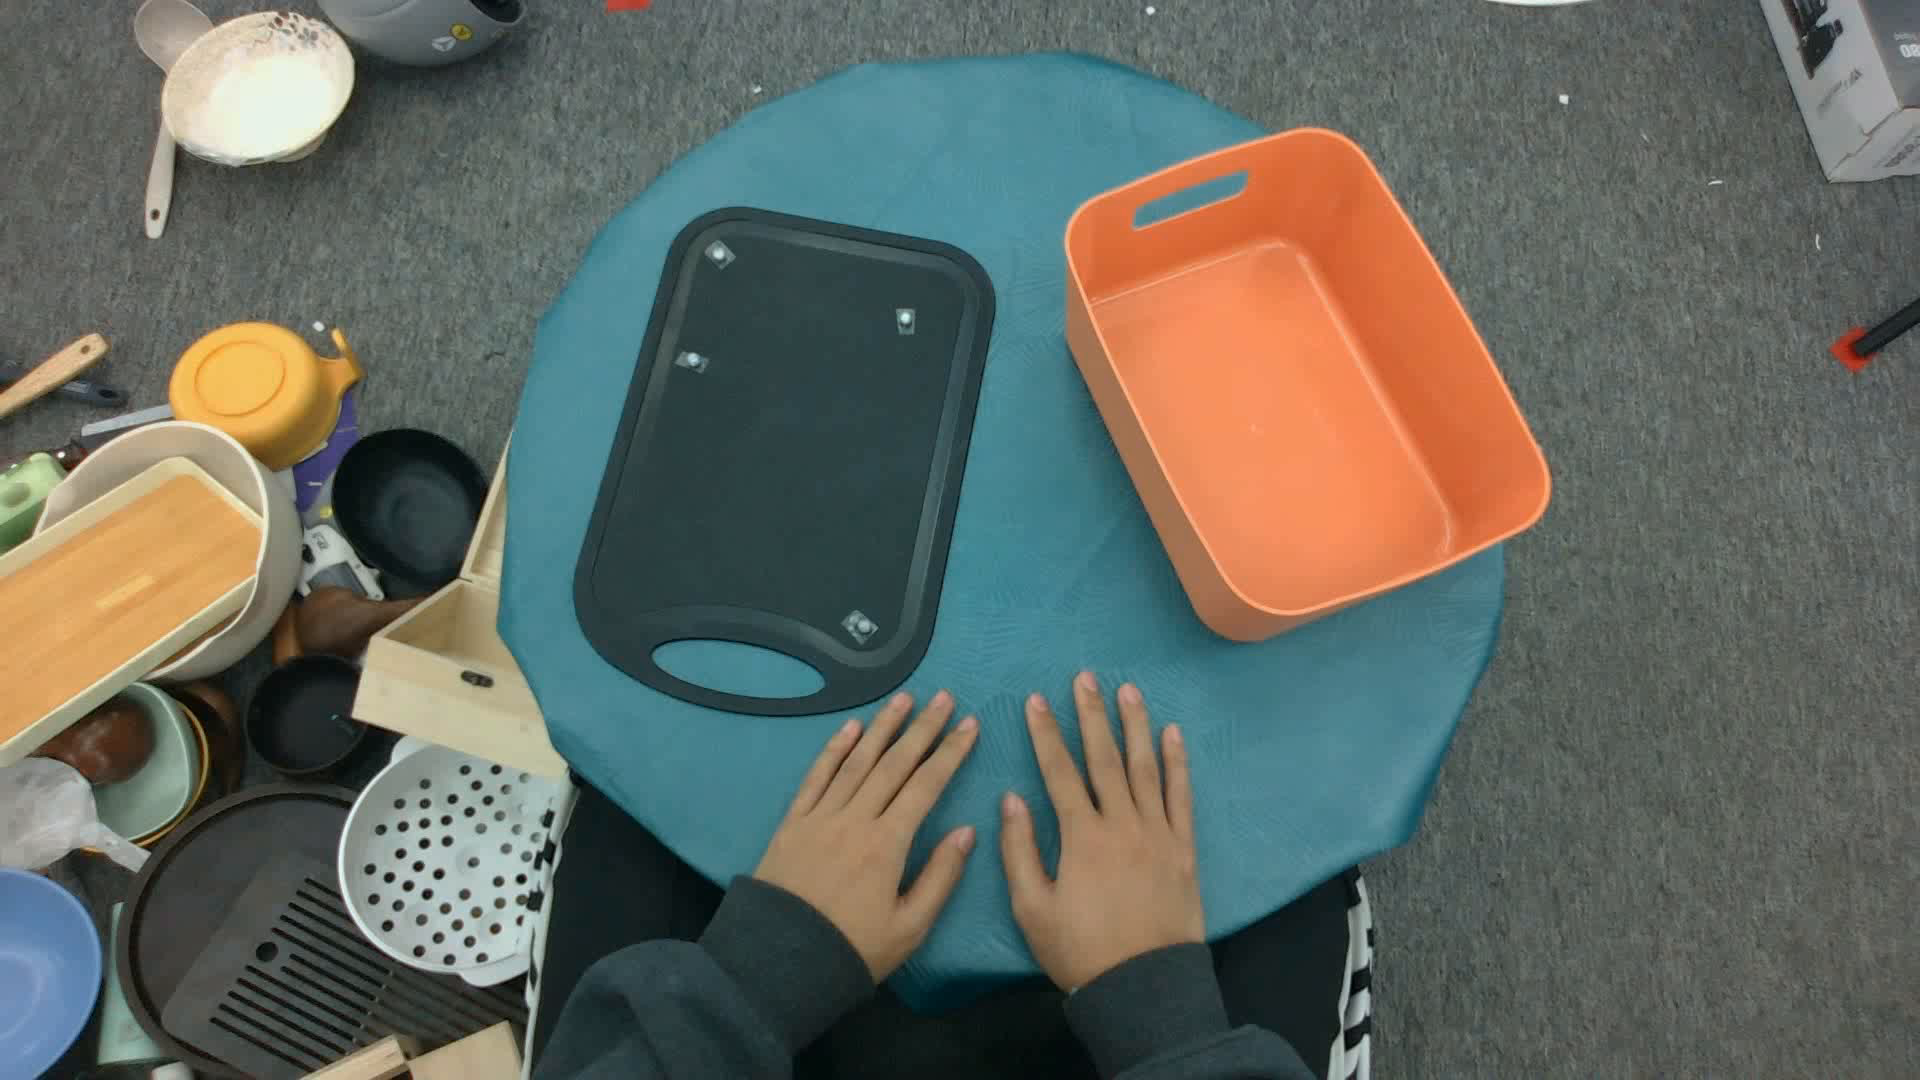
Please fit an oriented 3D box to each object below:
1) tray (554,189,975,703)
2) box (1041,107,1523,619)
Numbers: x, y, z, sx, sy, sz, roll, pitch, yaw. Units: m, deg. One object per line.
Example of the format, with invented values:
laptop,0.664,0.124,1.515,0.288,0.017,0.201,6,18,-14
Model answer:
tray,-0.112,-0.063,0.820,0.211,0.010,0.326,10,70,1
box,0.170,-0.096,0.797,0.200,0.102,0.273,-21,72,-11
